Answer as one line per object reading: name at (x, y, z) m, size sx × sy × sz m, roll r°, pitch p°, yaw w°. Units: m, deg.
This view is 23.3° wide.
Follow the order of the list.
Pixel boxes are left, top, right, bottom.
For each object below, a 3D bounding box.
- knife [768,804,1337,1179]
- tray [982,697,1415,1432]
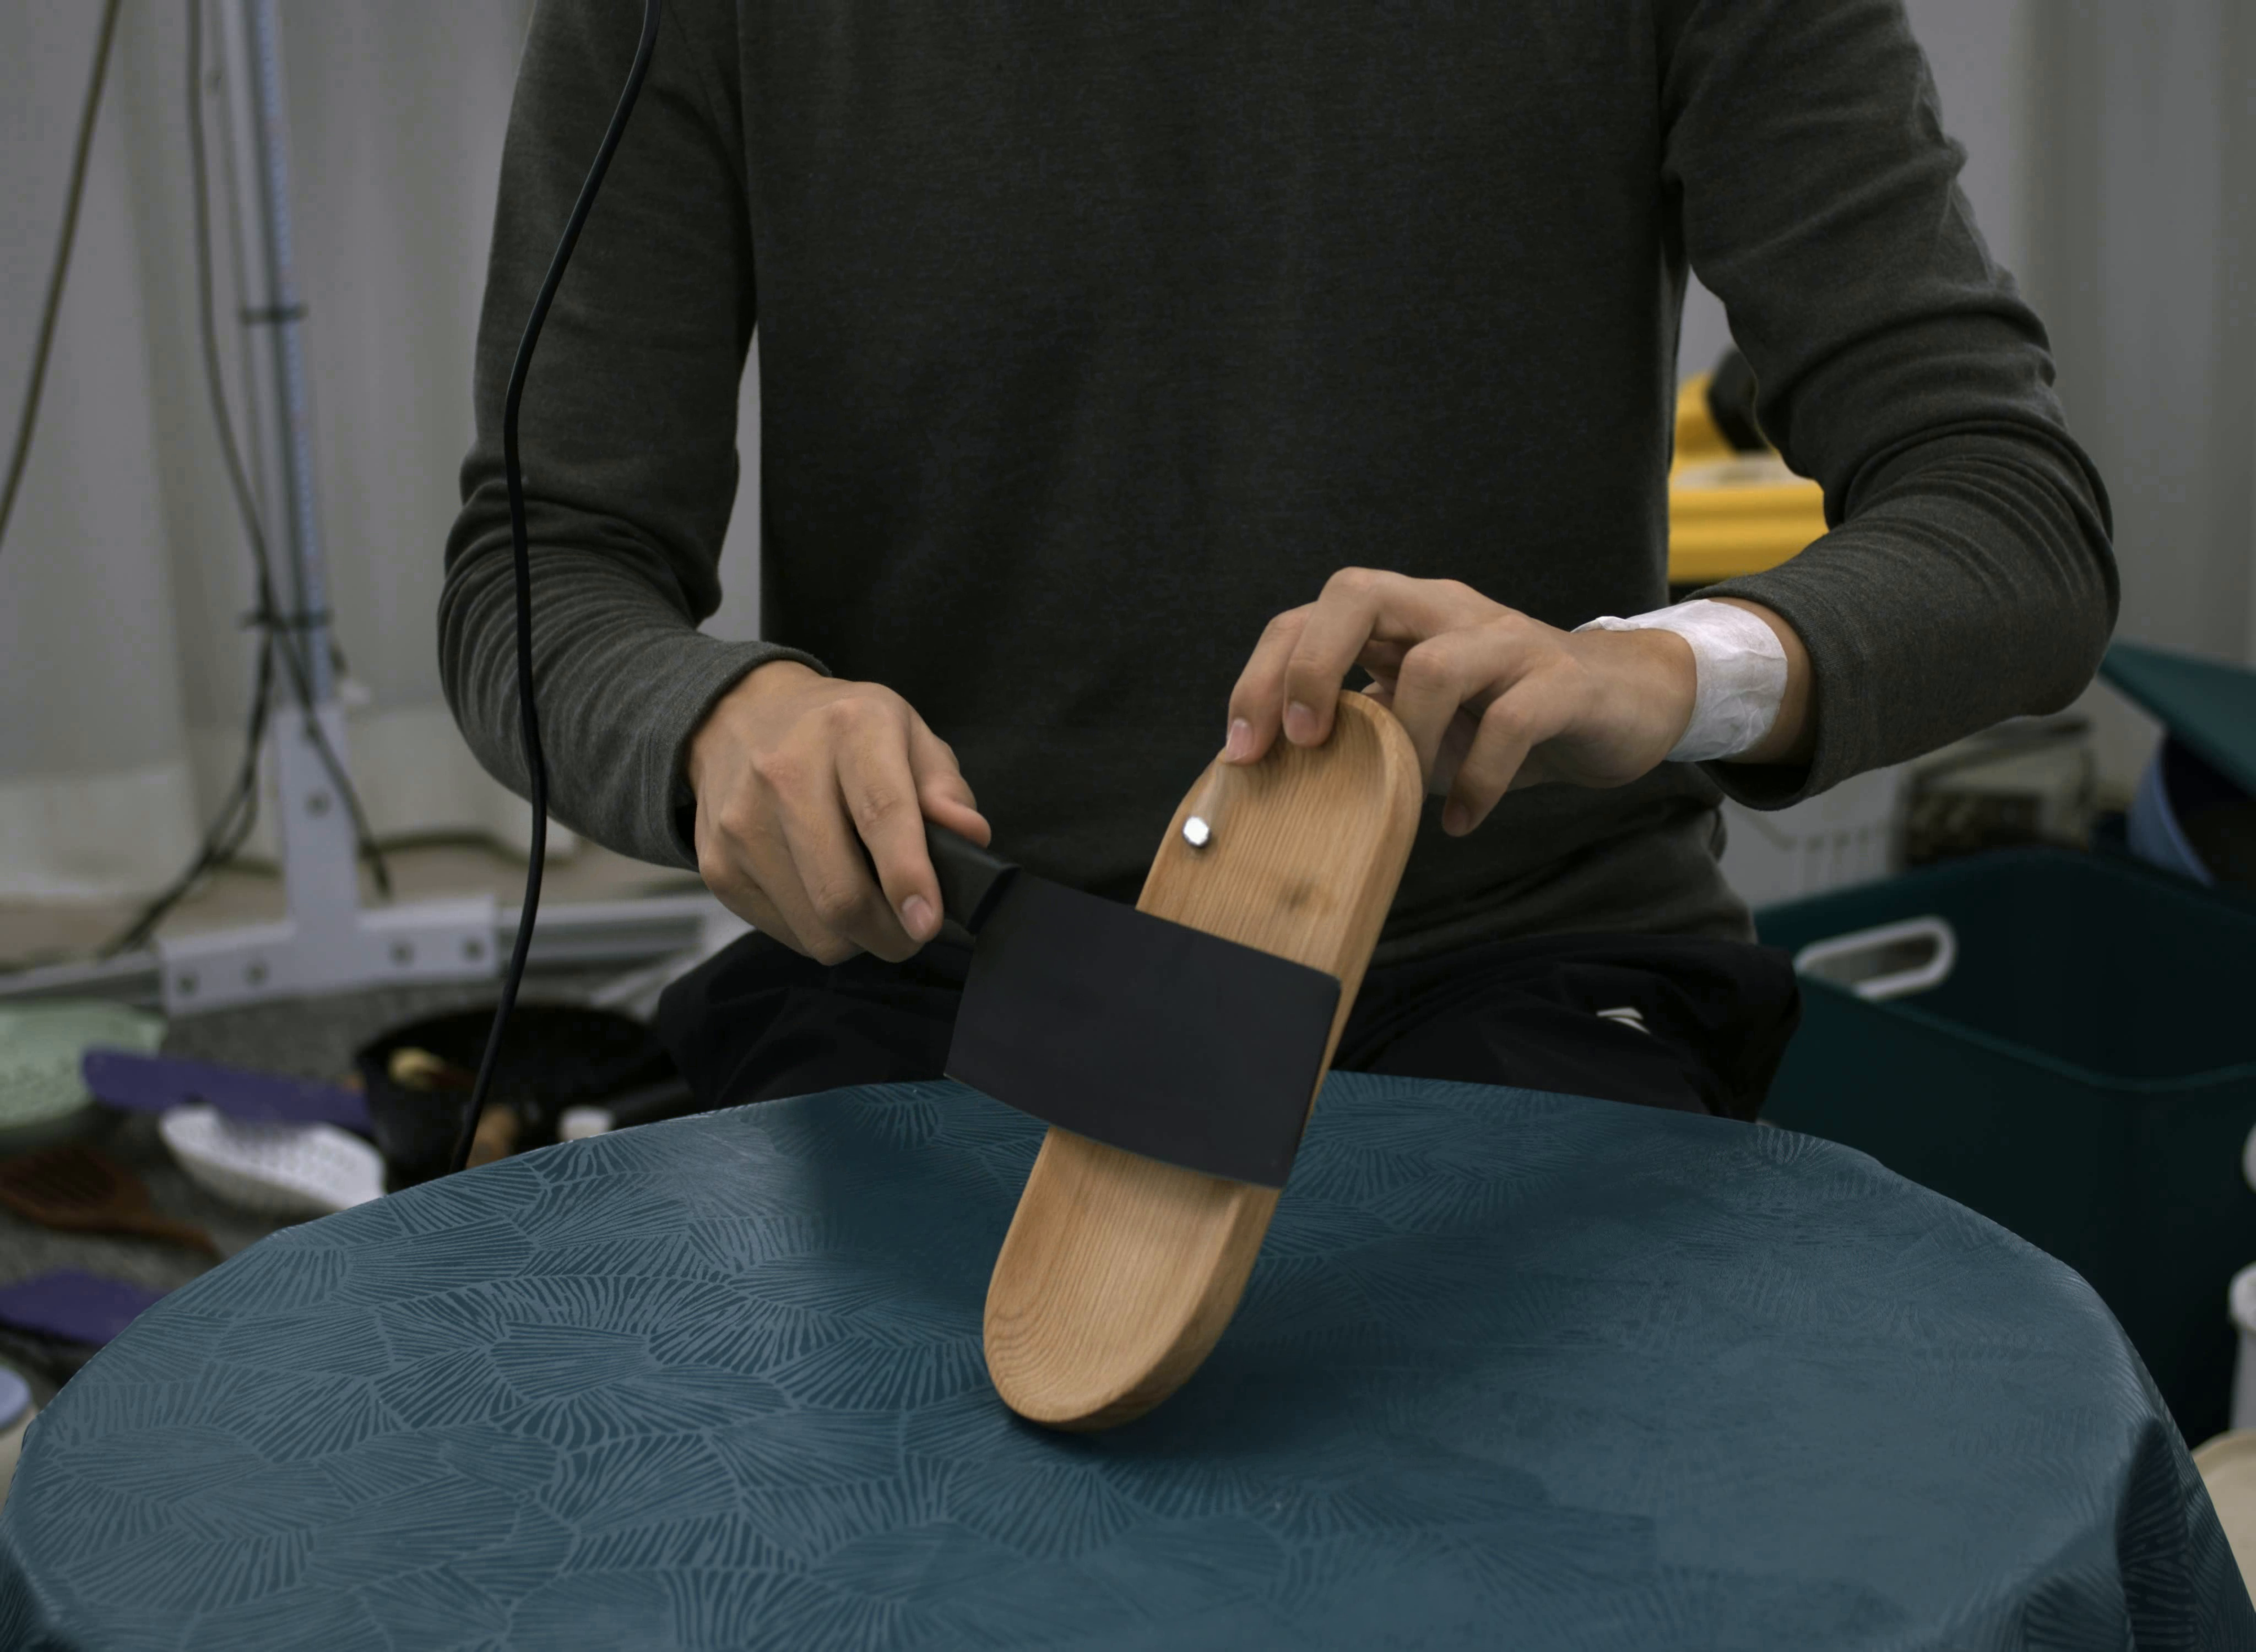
knife at (-0.029, 0.042, 1.592) m, size 0.020 × 0.081 × 0.305 m, roll 16°, pitch 4°, yaw -33°
tray at (0.021, 0.066, 1.542) m, size 0.020 × 0.233 × 0.102 m, roll 34°, pitch -27°, yaw -30°
